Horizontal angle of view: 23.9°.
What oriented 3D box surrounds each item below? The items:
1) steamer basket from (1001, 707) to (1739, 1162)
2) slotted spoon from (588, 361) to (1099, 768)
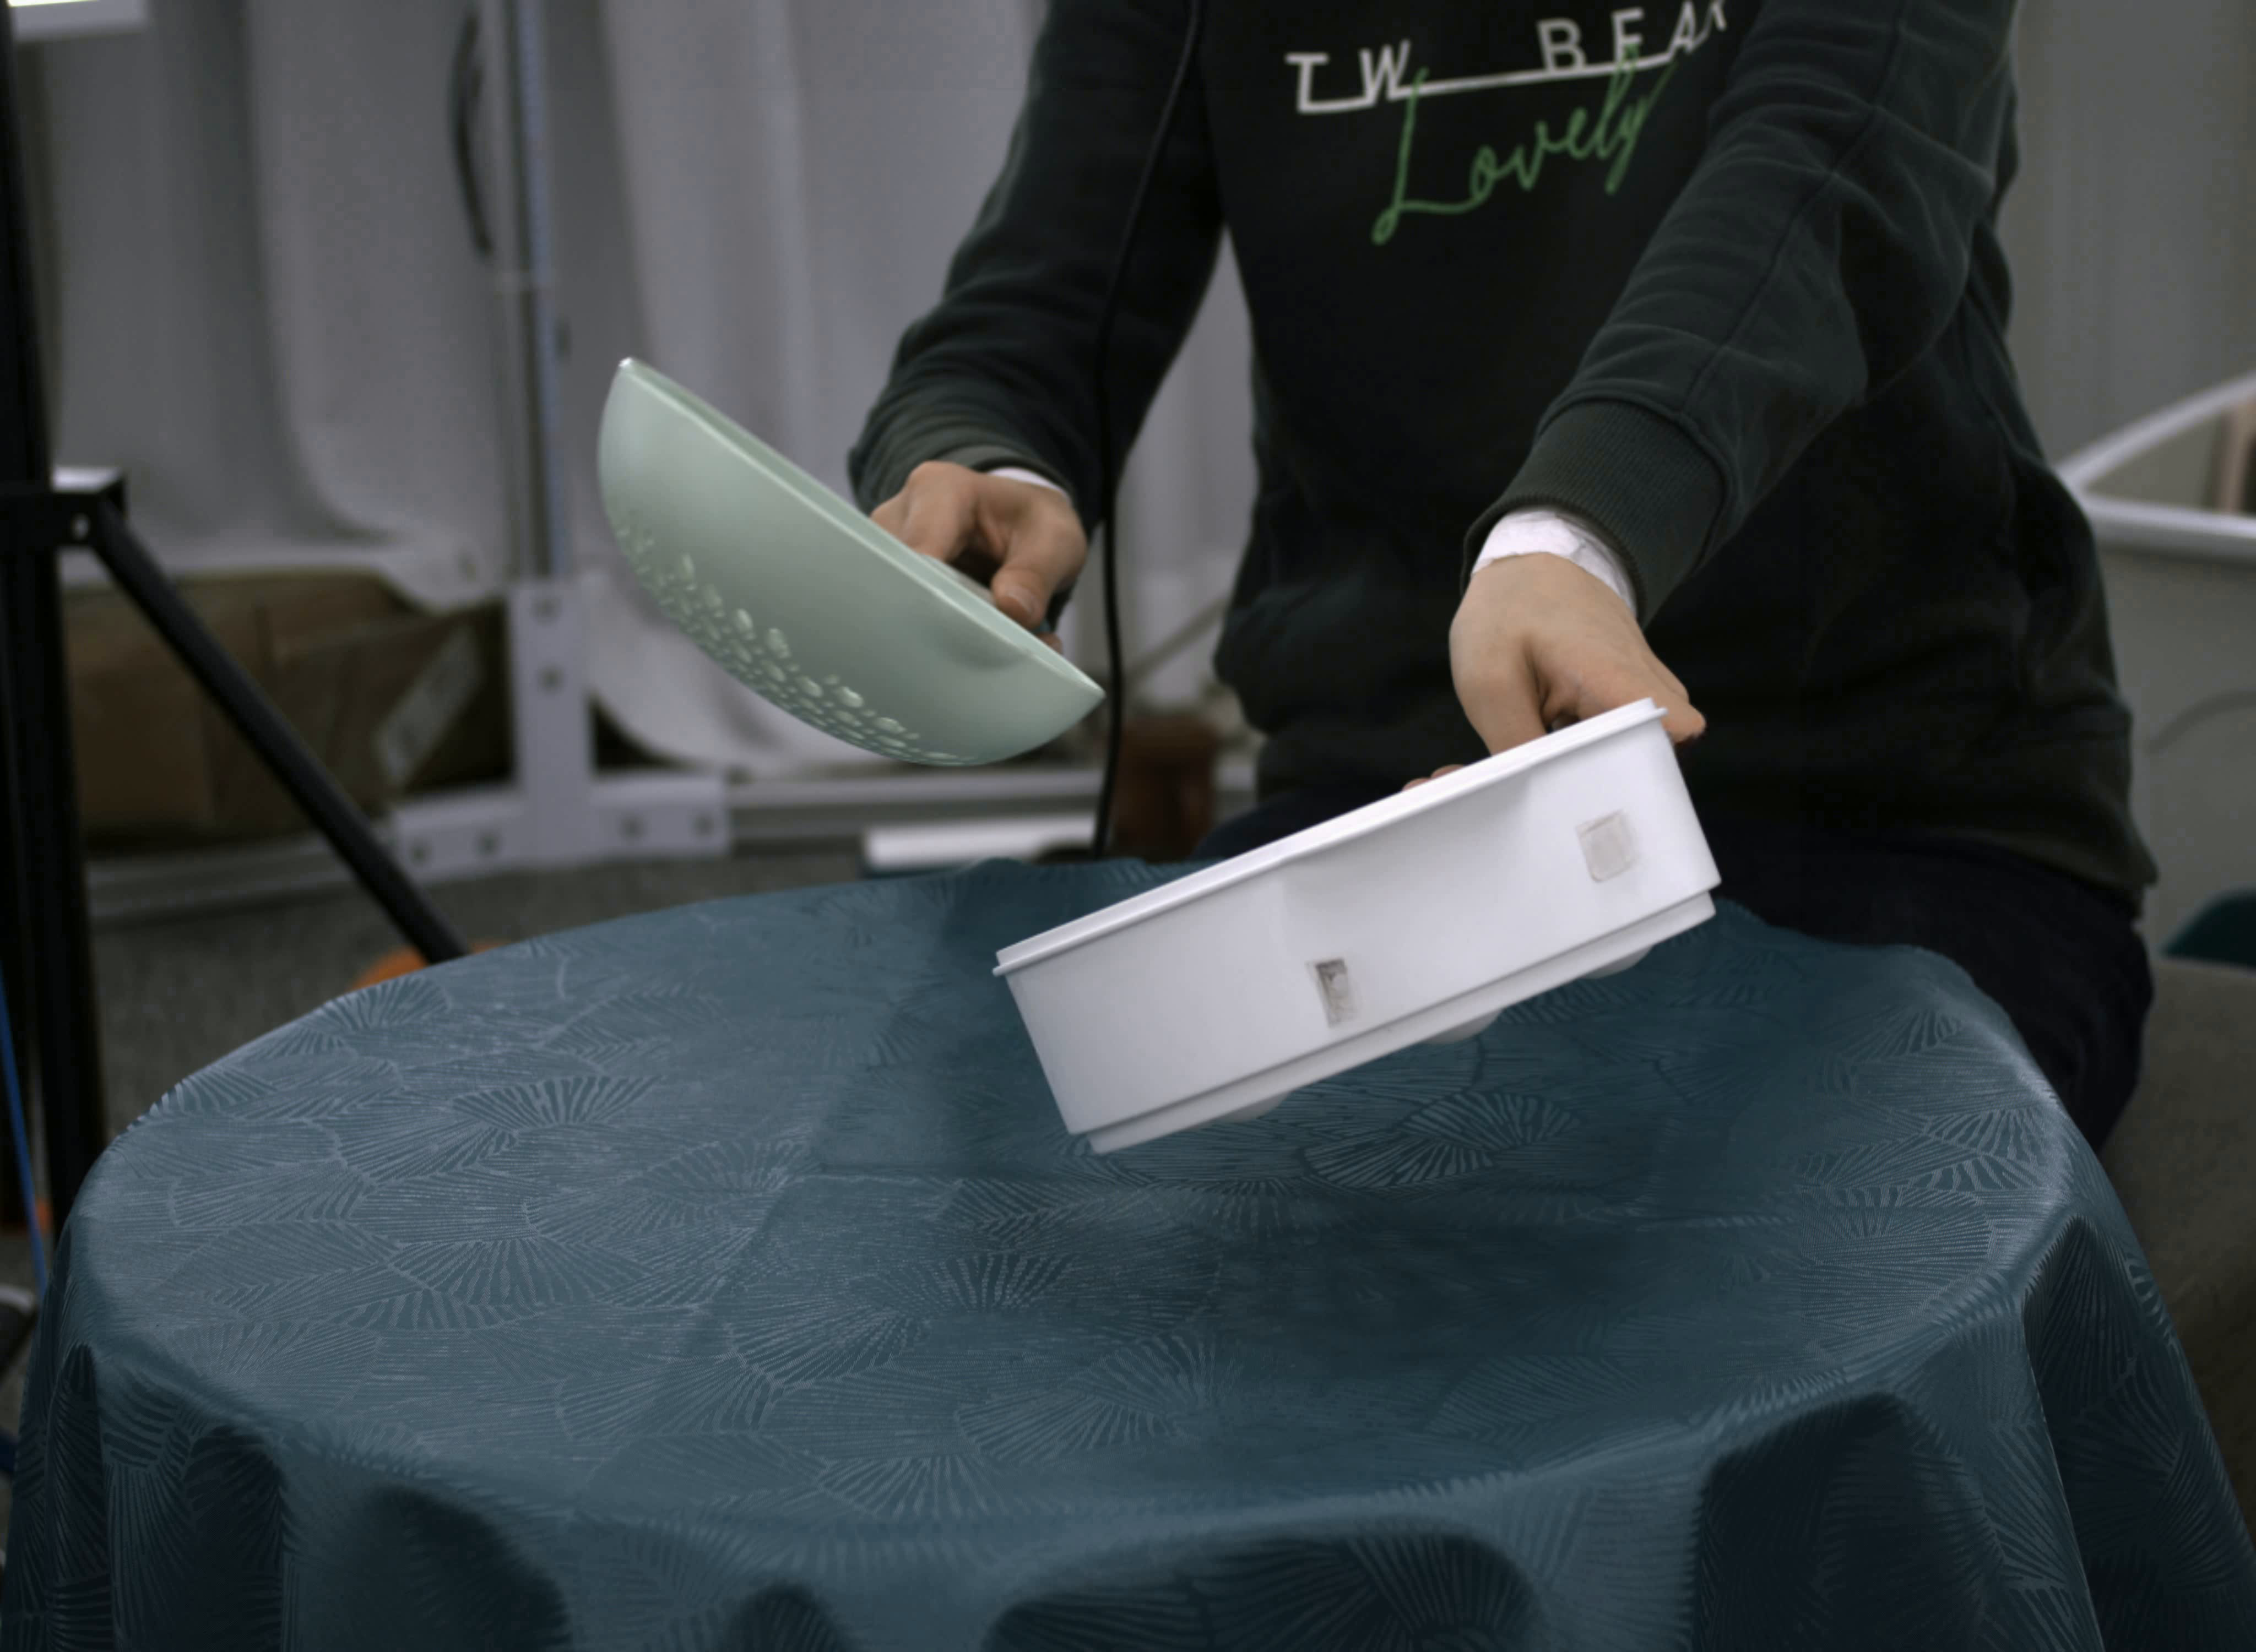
[{"bbox_3d":[0.069,0.032,1.457,0.199,0.069,0.232,-20,-2,-12],"label":"steamer basket"},{"bbox_3d":[-0.070,-0.067,1.628,0.171,0.075,0.354,36,9,11],"label":"slotted spoon"}]
